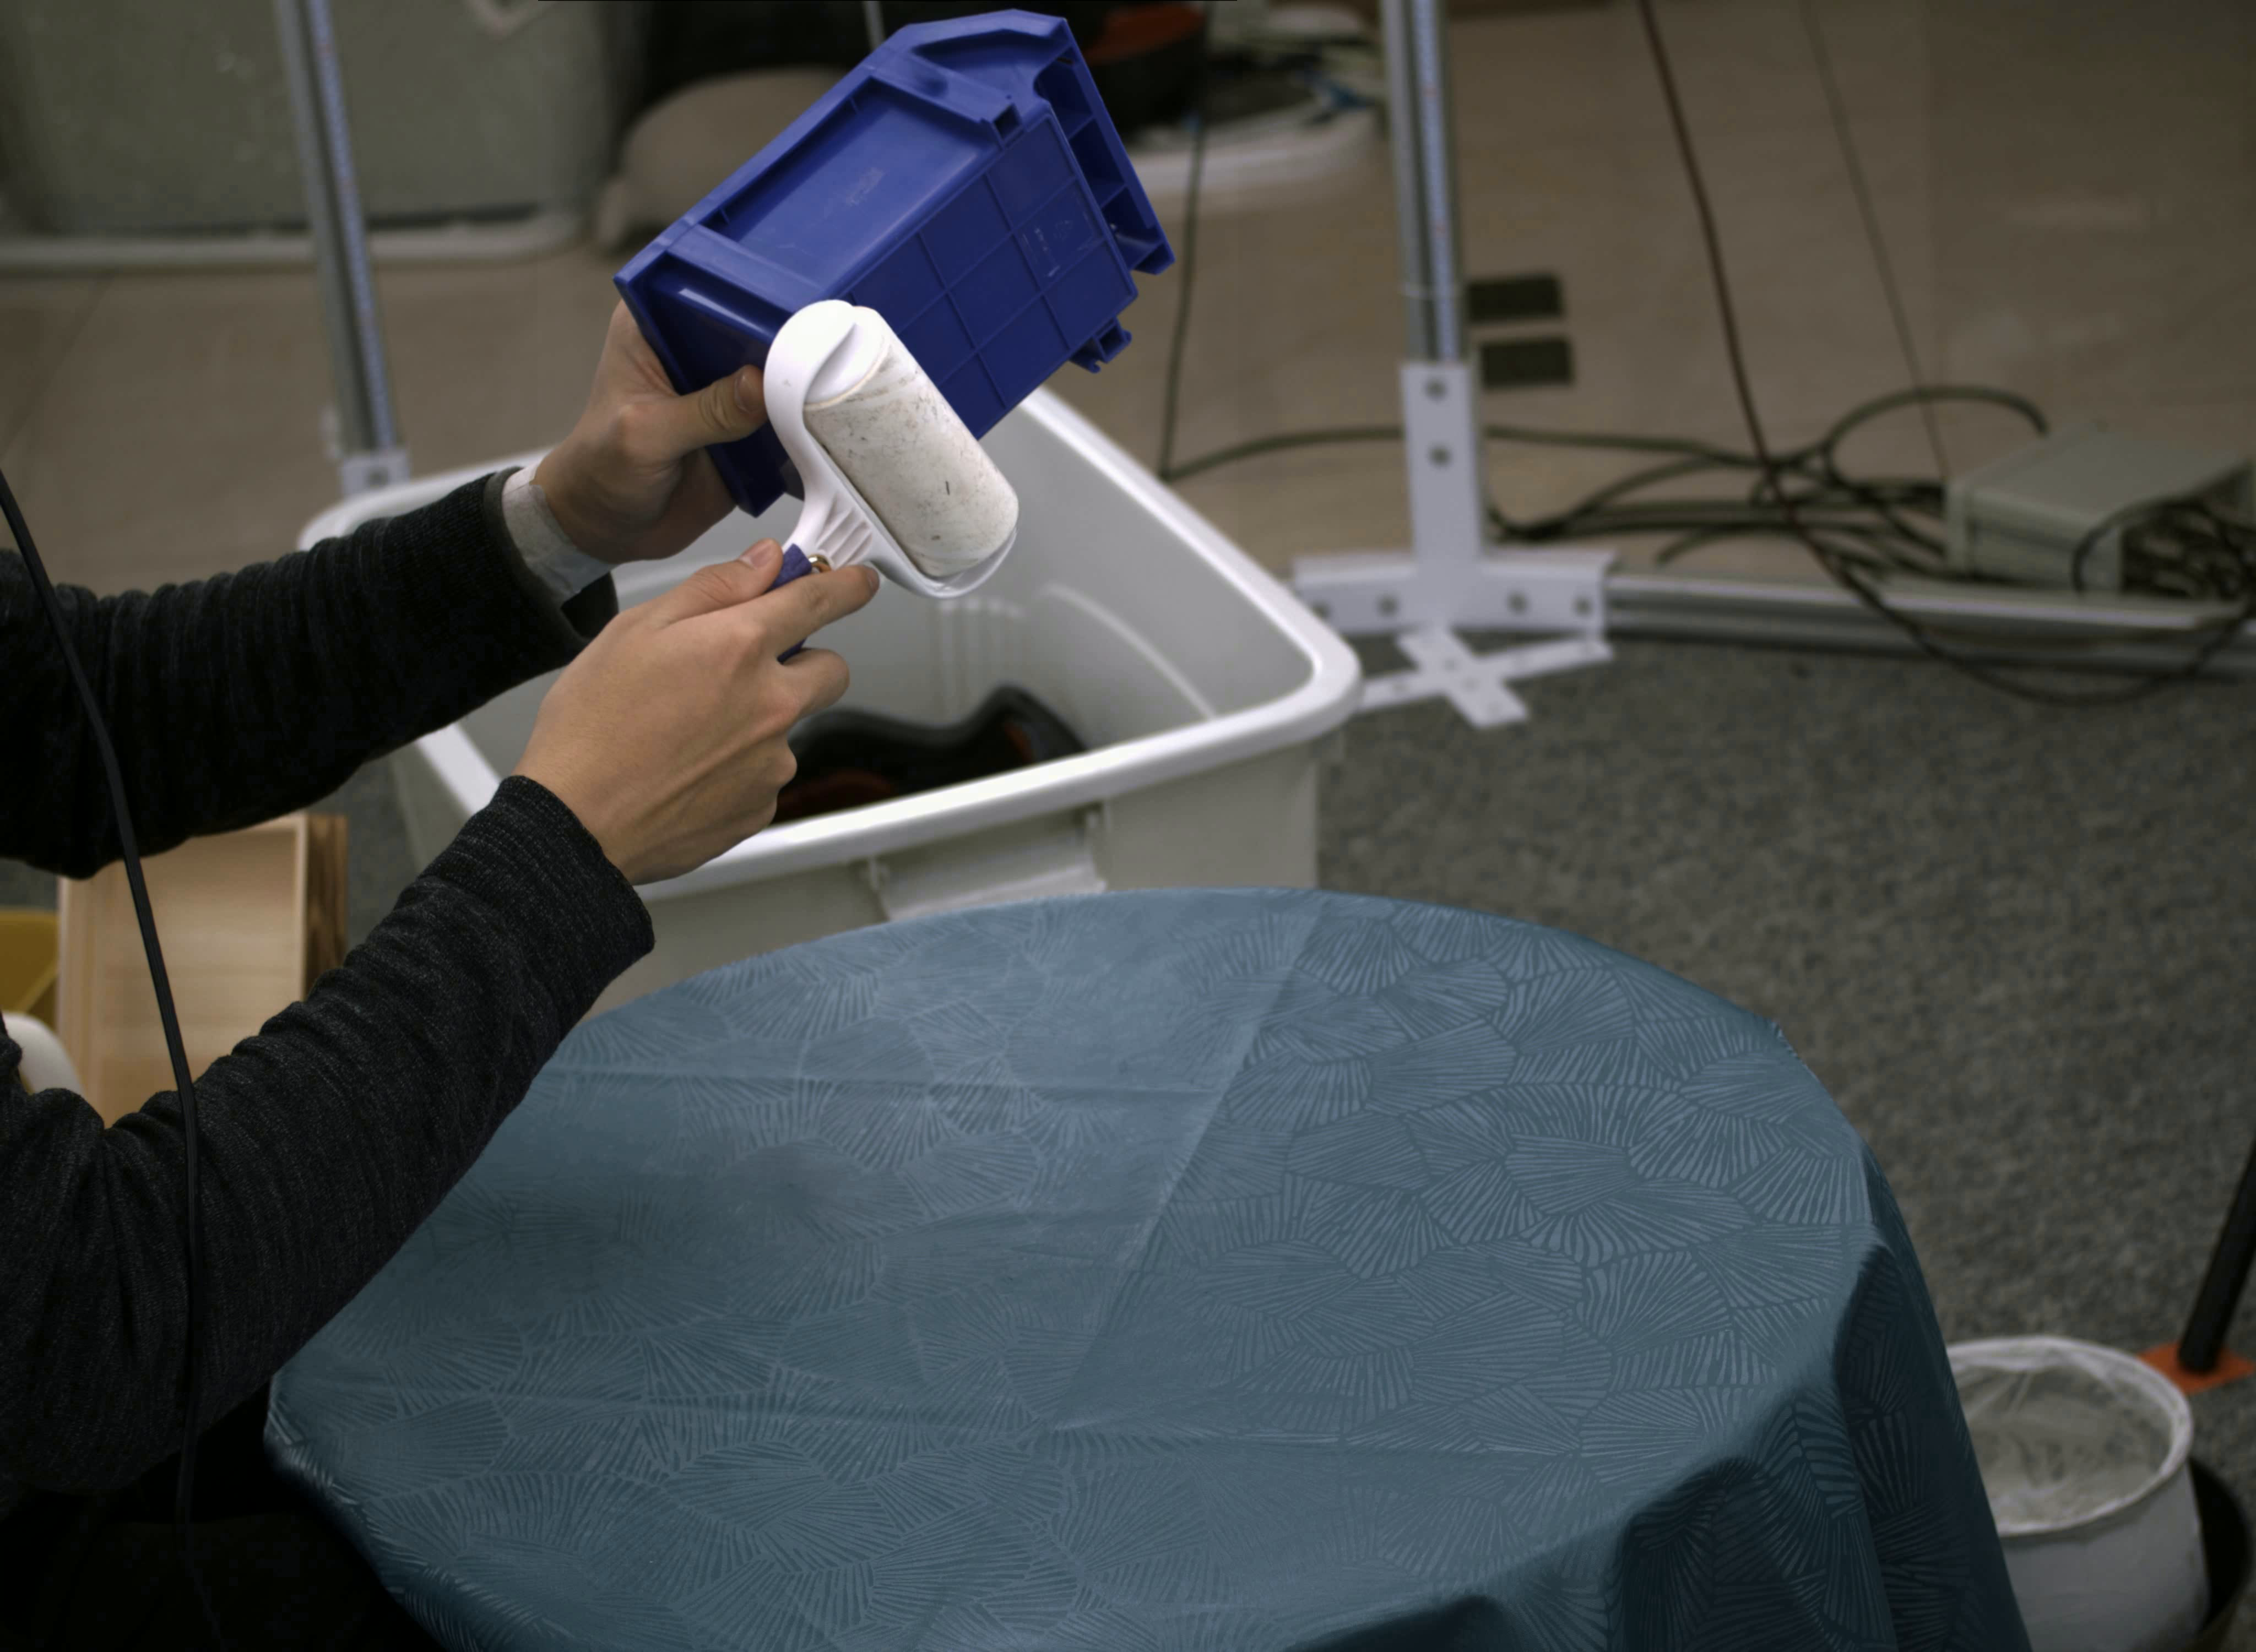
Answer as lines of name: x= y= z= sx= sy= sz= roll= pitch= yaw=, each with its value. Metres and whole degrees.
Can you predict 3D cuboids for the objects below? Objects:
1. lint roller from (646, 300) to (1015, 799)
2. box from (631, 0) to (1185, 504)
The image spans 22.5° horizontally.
lint roller: x=-0.112 y=-0.085 z=1.987 sx=0.050 sy=0.135 sz=0.179 roll=10 pitch=61 yaw=36
box: x=-0.072 y=-0.208 z=2.074 sx=0.178 sy=0.126 sz=0.081 roll=-46 pitch=44 yaw=-17
